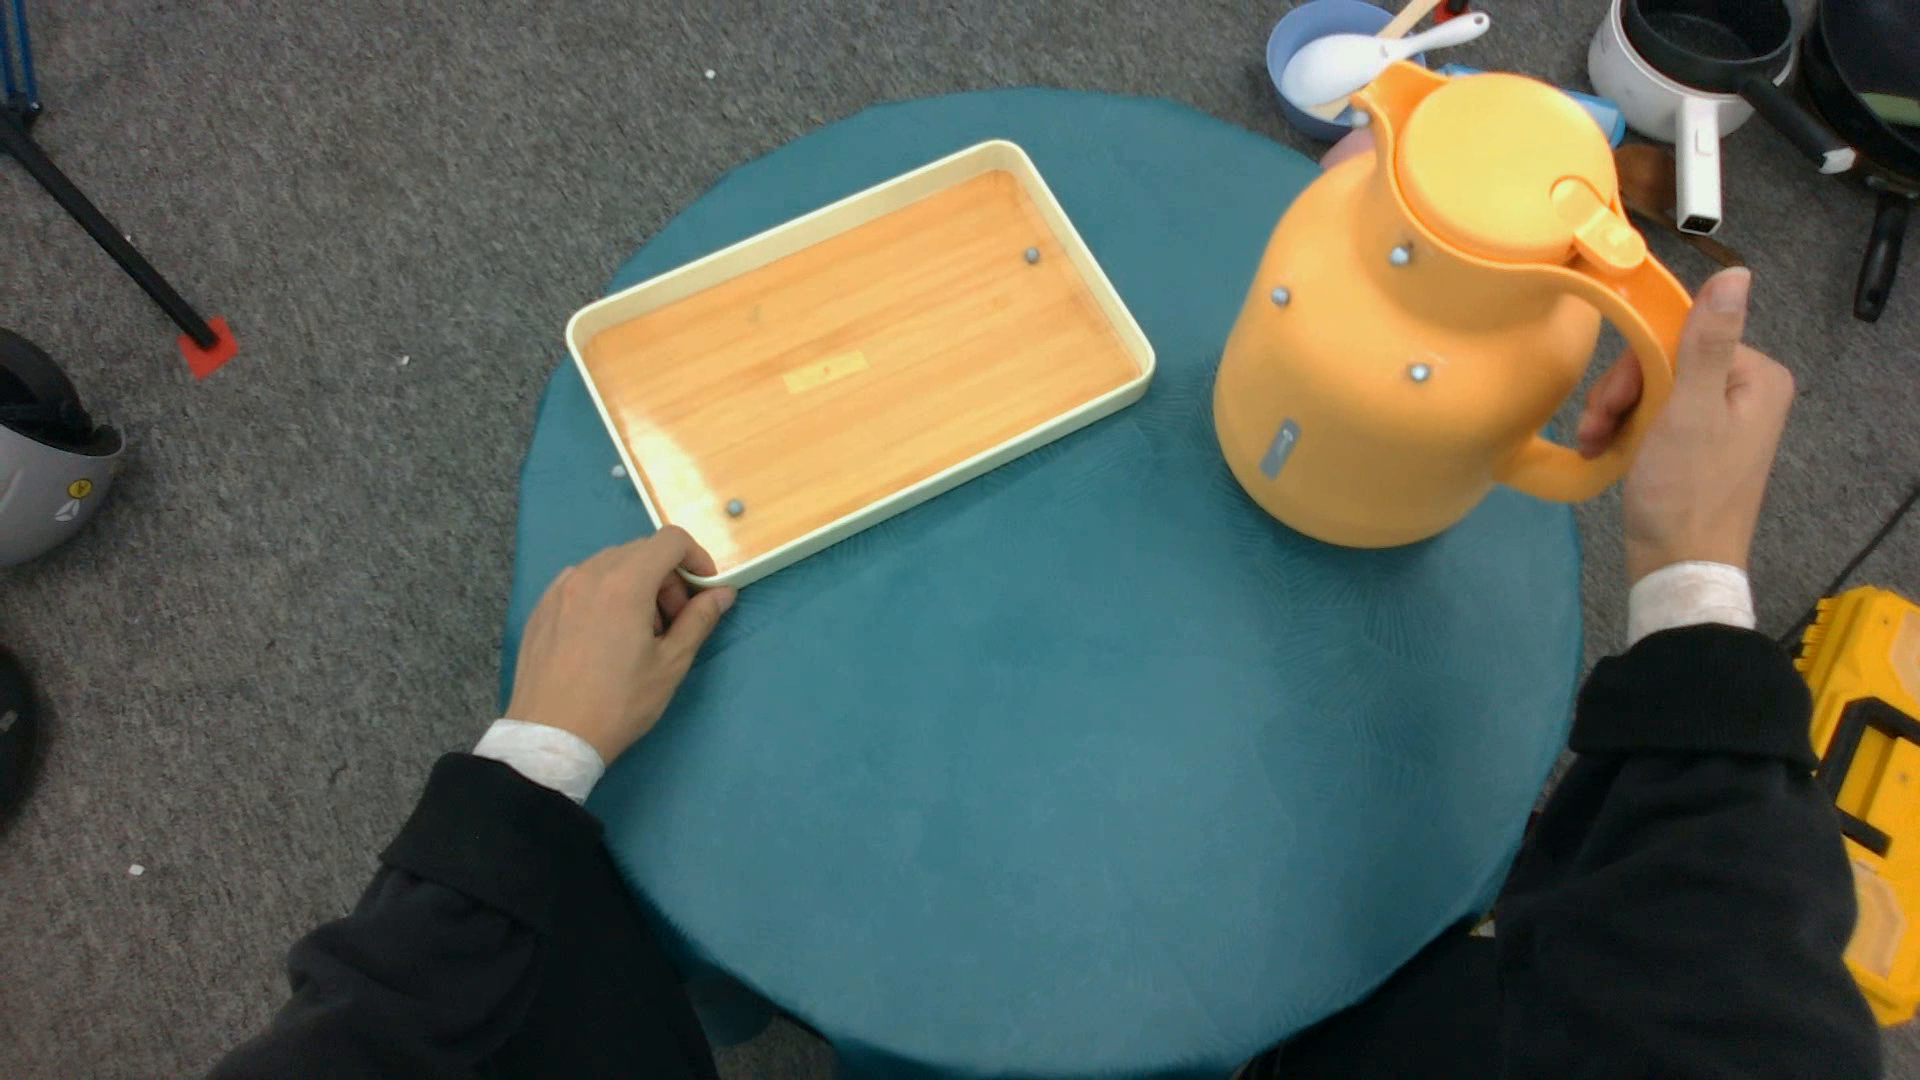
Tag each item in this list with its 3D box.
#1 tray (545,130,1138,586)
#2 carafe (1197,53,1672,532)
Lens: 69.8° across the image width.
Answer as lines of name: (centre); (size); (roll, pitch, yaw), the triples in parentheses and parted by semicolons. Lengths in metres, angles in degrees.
tray: (-0.067, -0.113, 0.799); (0.301, 0.027, 0.192); (-26, 70, -12)
carafe: (0.228, -0.103, 0.683); (0.164, 0.259, 0.202); (-38, 73, -14)
